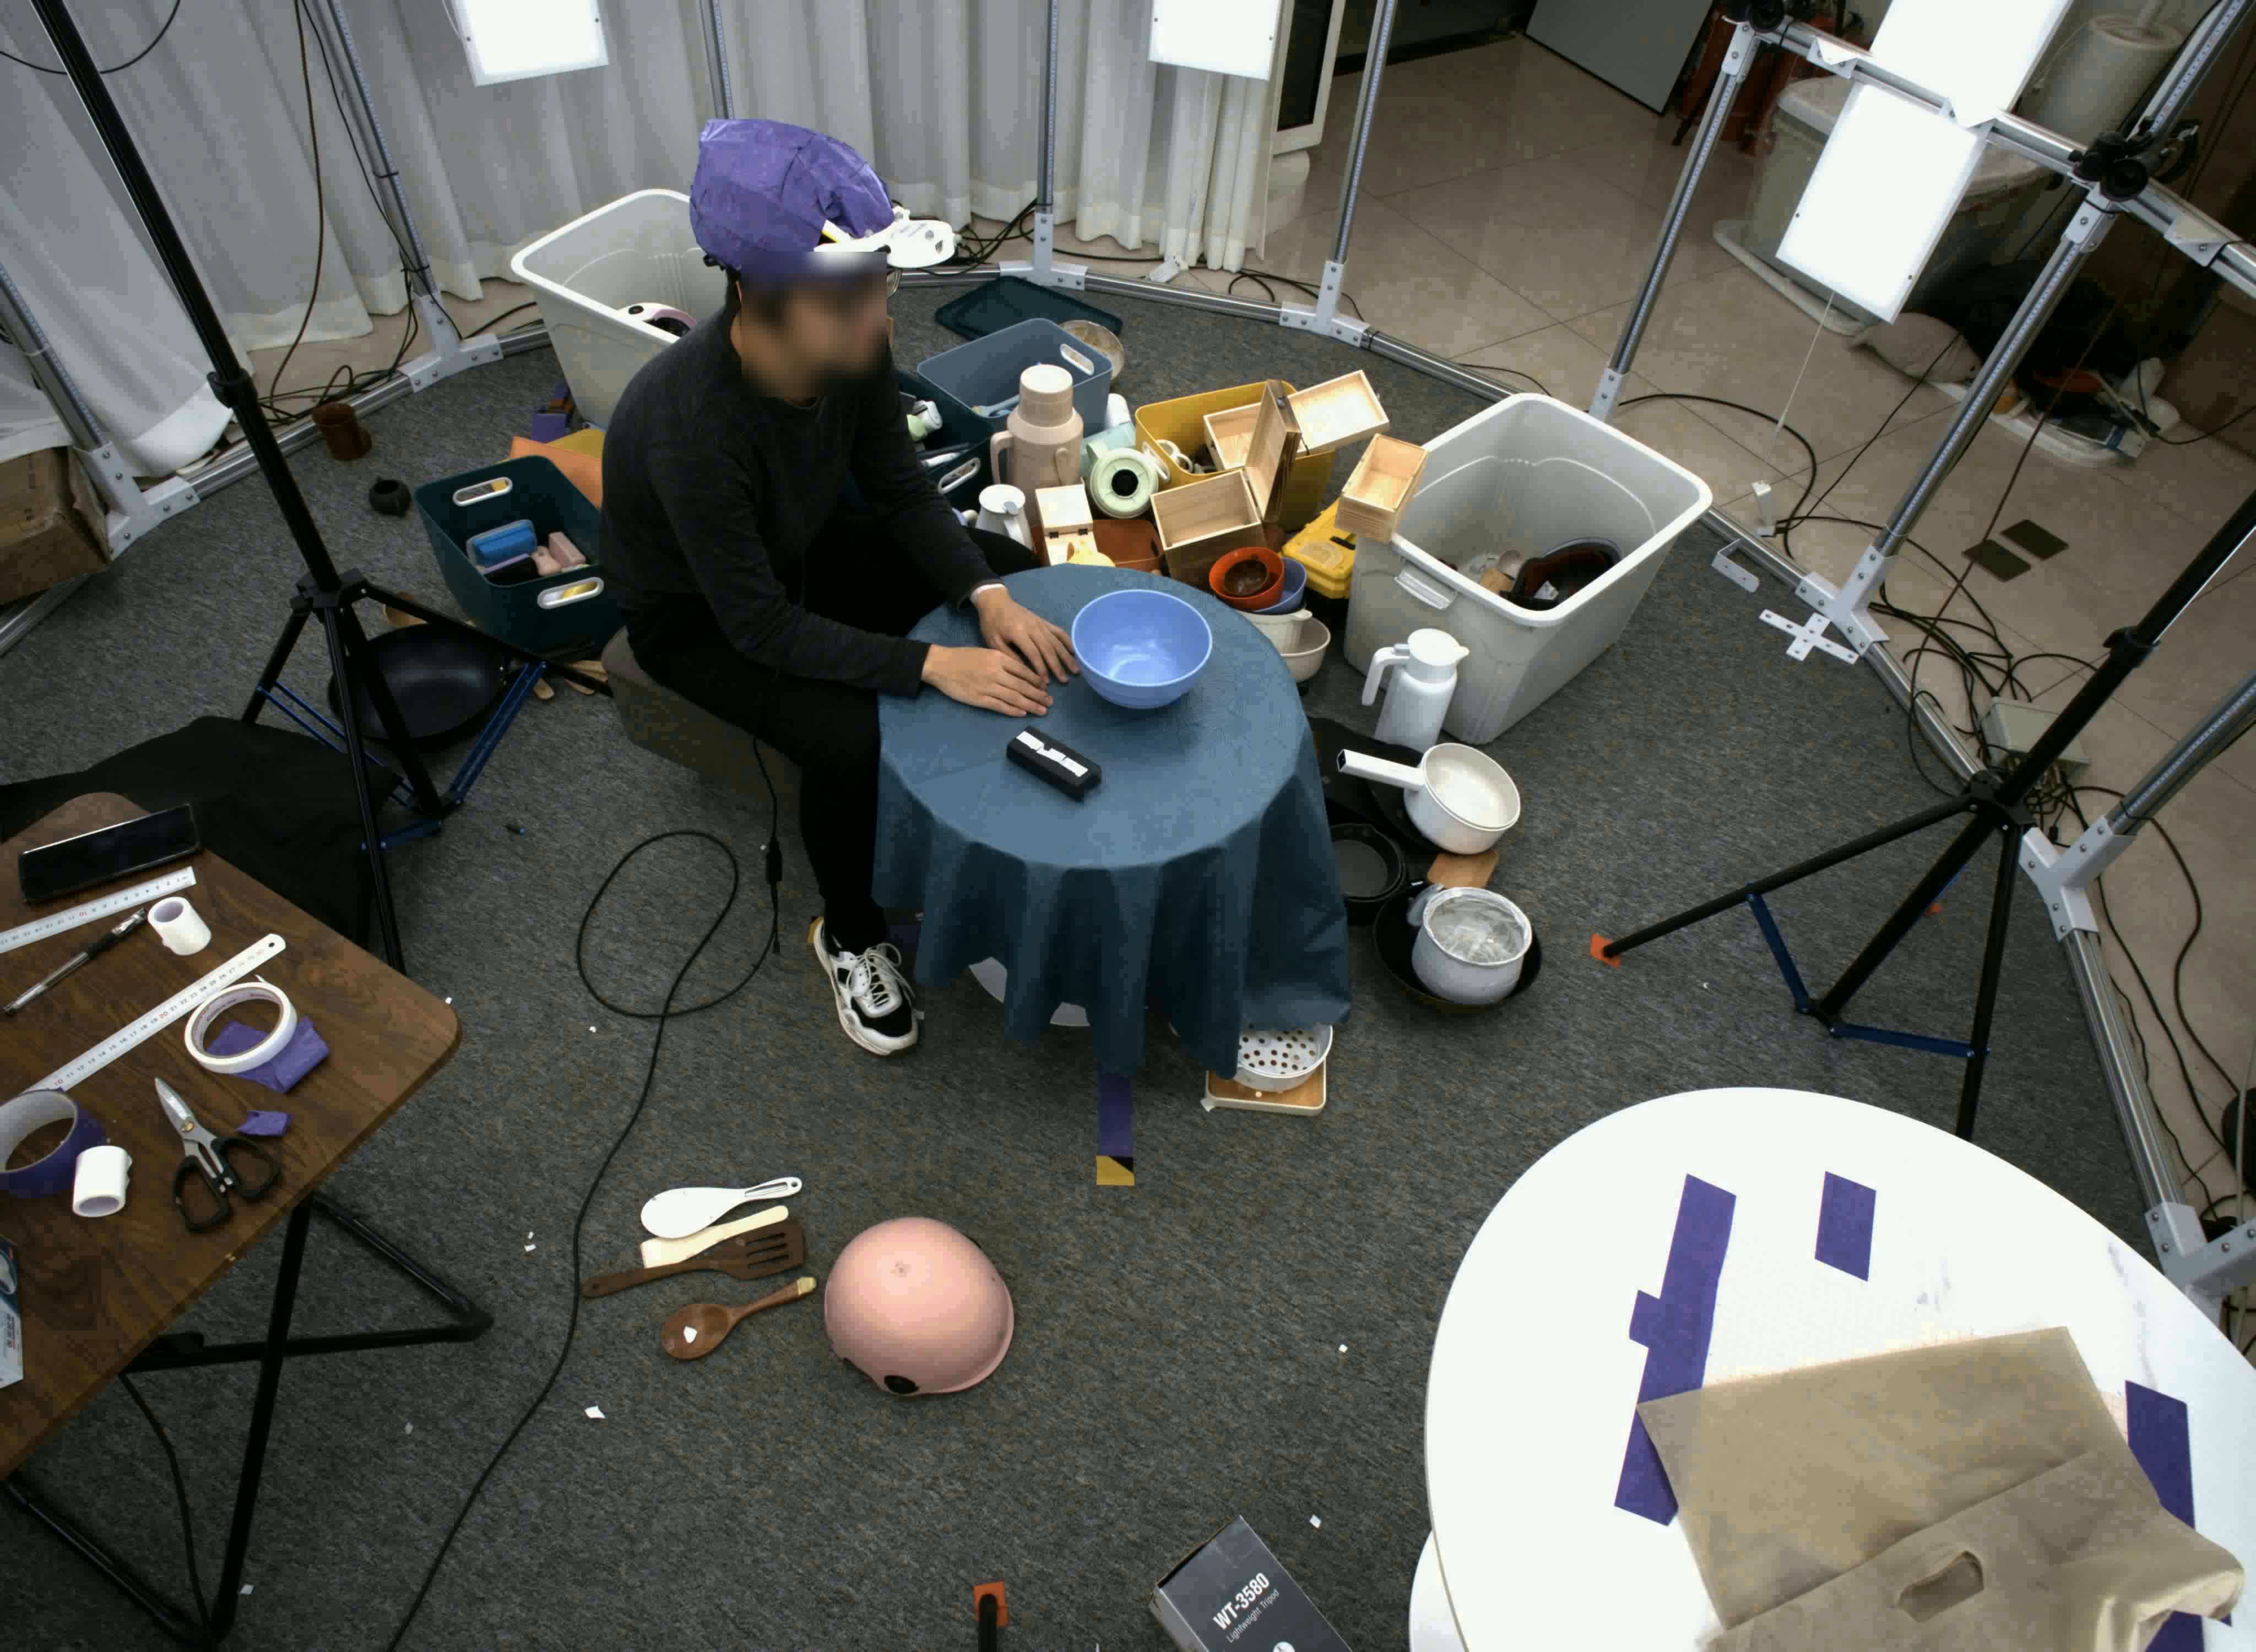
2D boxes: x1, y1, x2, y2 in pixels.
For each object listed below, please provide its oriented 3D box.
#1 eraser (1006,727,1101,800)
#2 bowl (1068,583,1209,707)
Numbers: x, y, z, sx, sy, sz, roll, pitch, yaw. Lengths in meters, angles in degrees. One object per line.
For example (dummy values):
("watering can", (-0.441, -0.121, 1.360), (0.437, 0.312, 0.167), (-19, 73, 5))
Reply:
("eraser", (-0.100, -0.085, 1.718), (0.127, 0.030, 0.054), (31, 51, 21))
("bowl", (0.012, -0.241, 1.818), (0.196, 0.093, 0.201), (1, 55, -2))
